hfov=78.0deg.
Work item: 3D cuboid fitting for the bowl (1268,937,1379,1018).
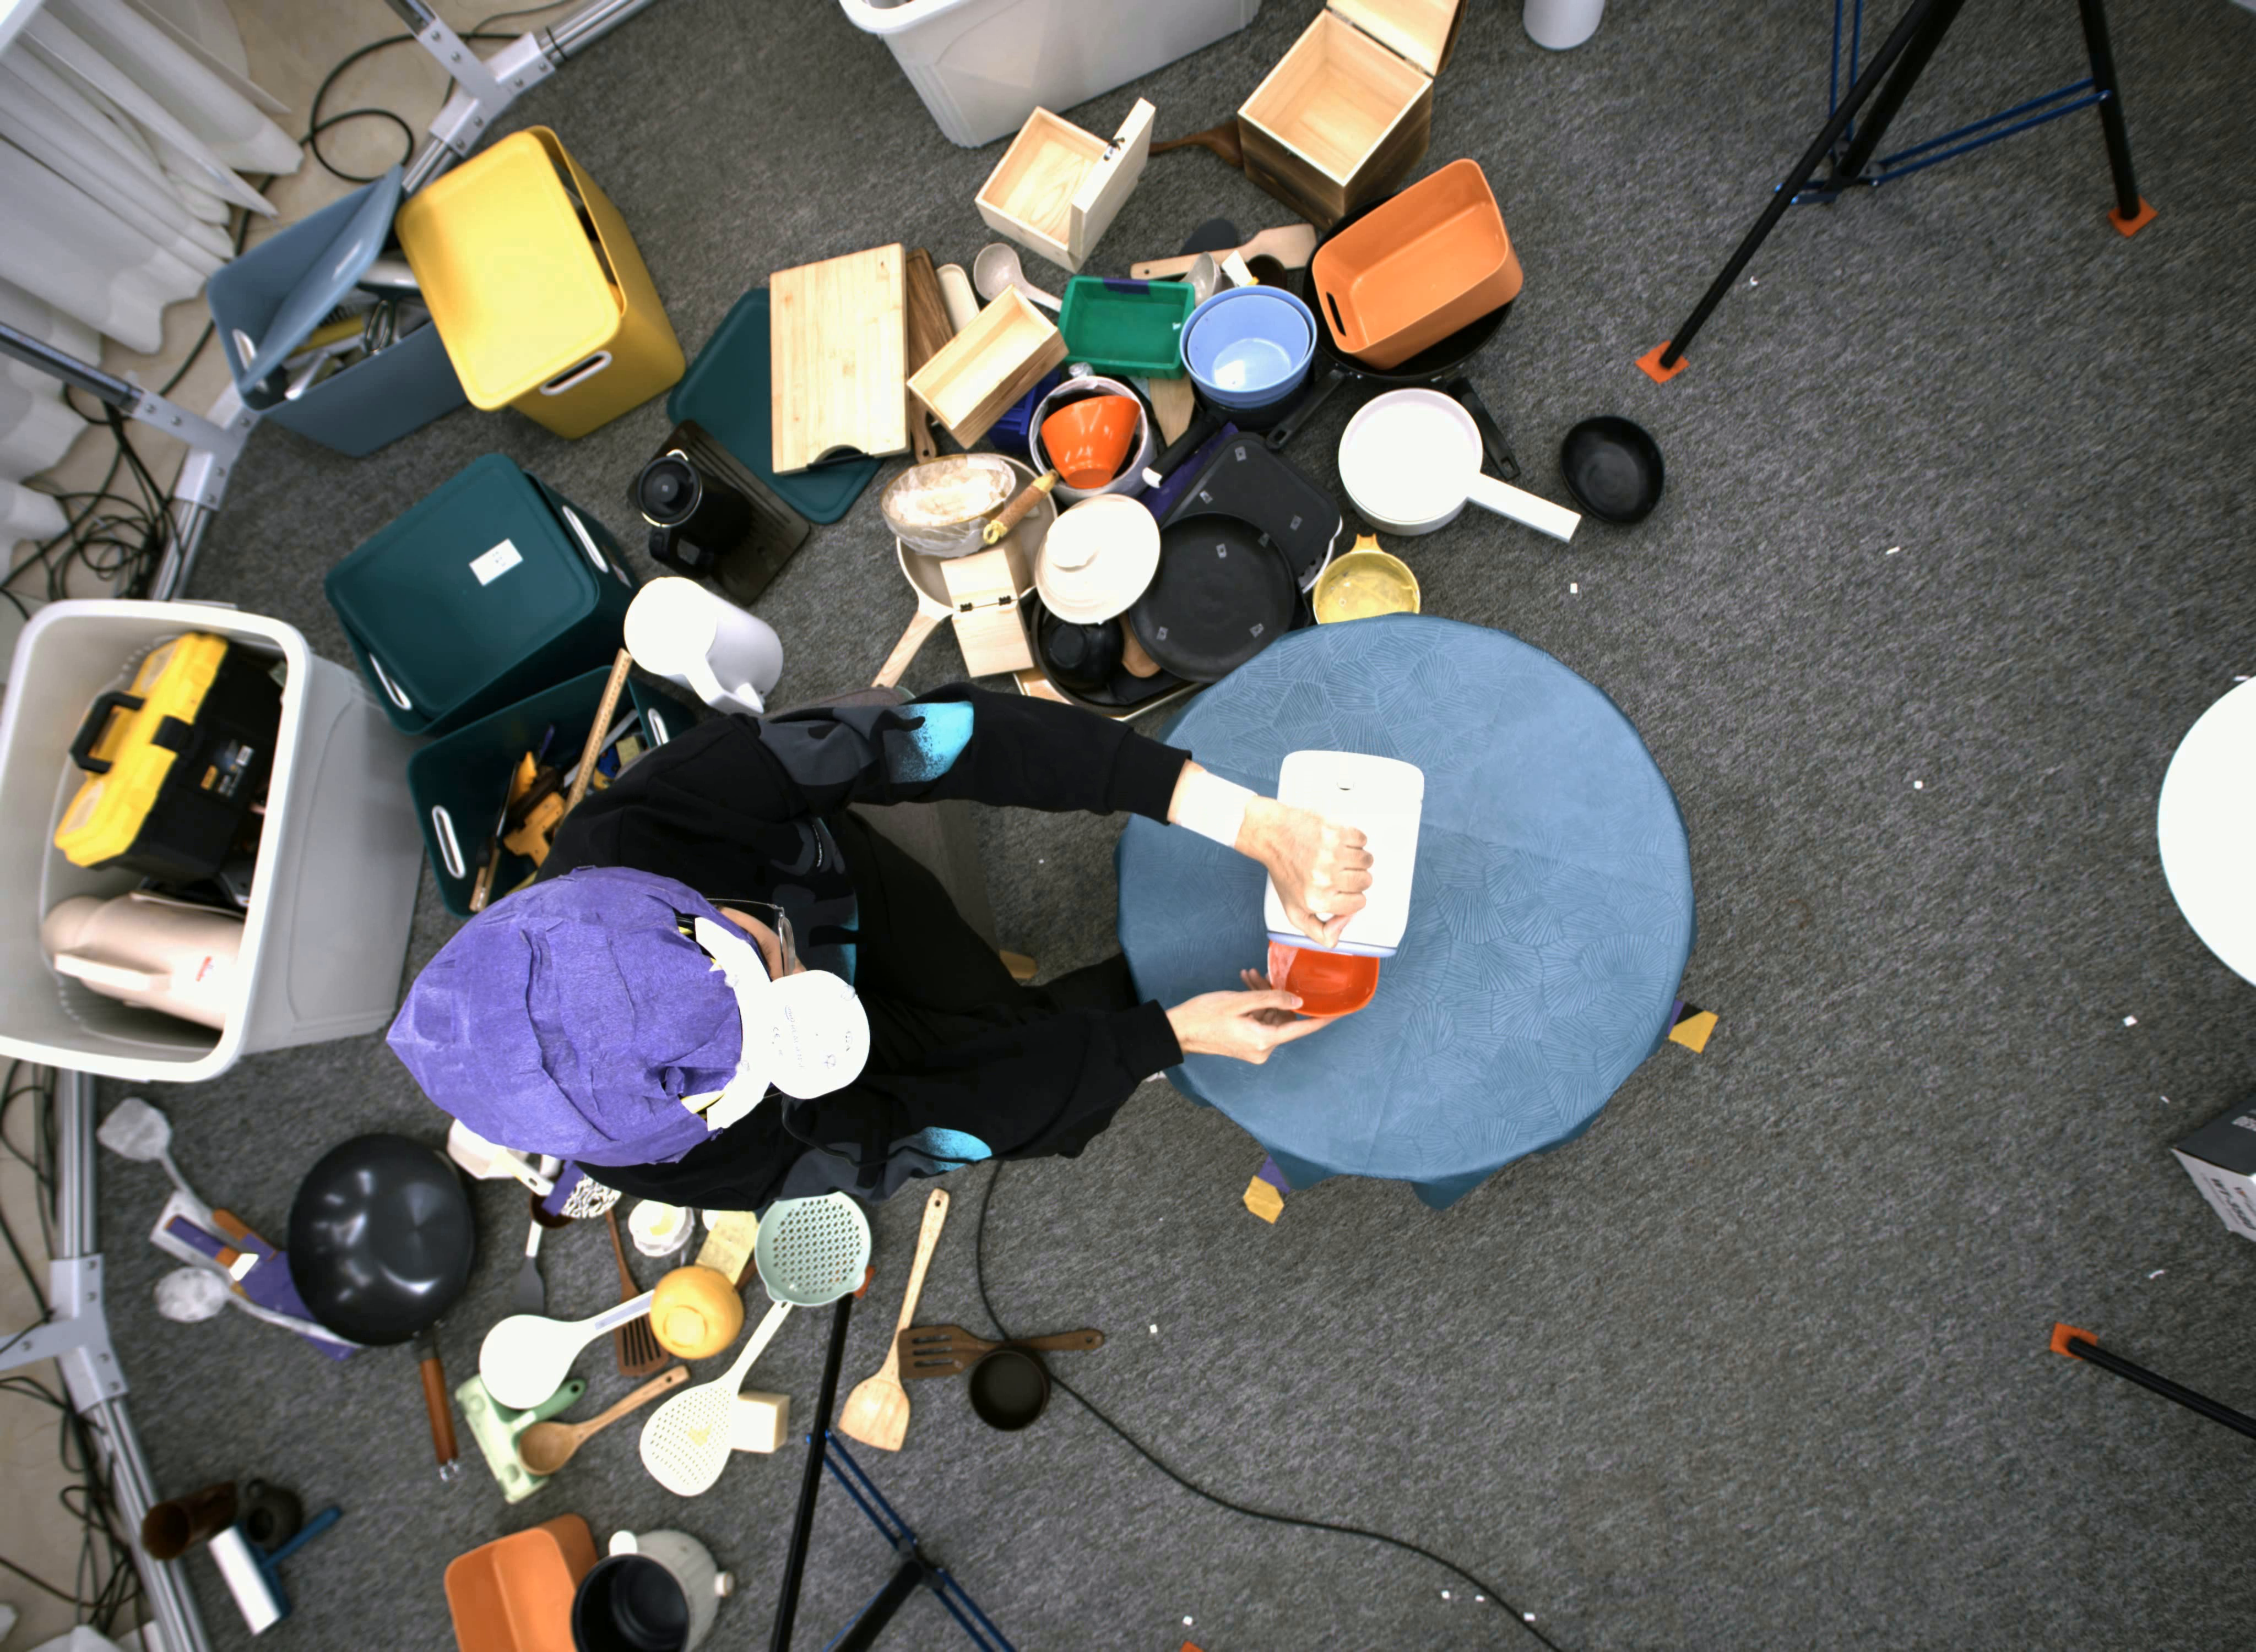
[{"bbox_3d":[0.193,0.136,1.385,0.119,0.051,0.118,-1,84,4],"label":"bowl"}]

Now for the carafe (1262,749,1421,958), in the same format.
[{"bbox_3d":[0.188,0.021,1.234,0.132,0.191,0.181,6,85,15],"label":"carafe"}]
